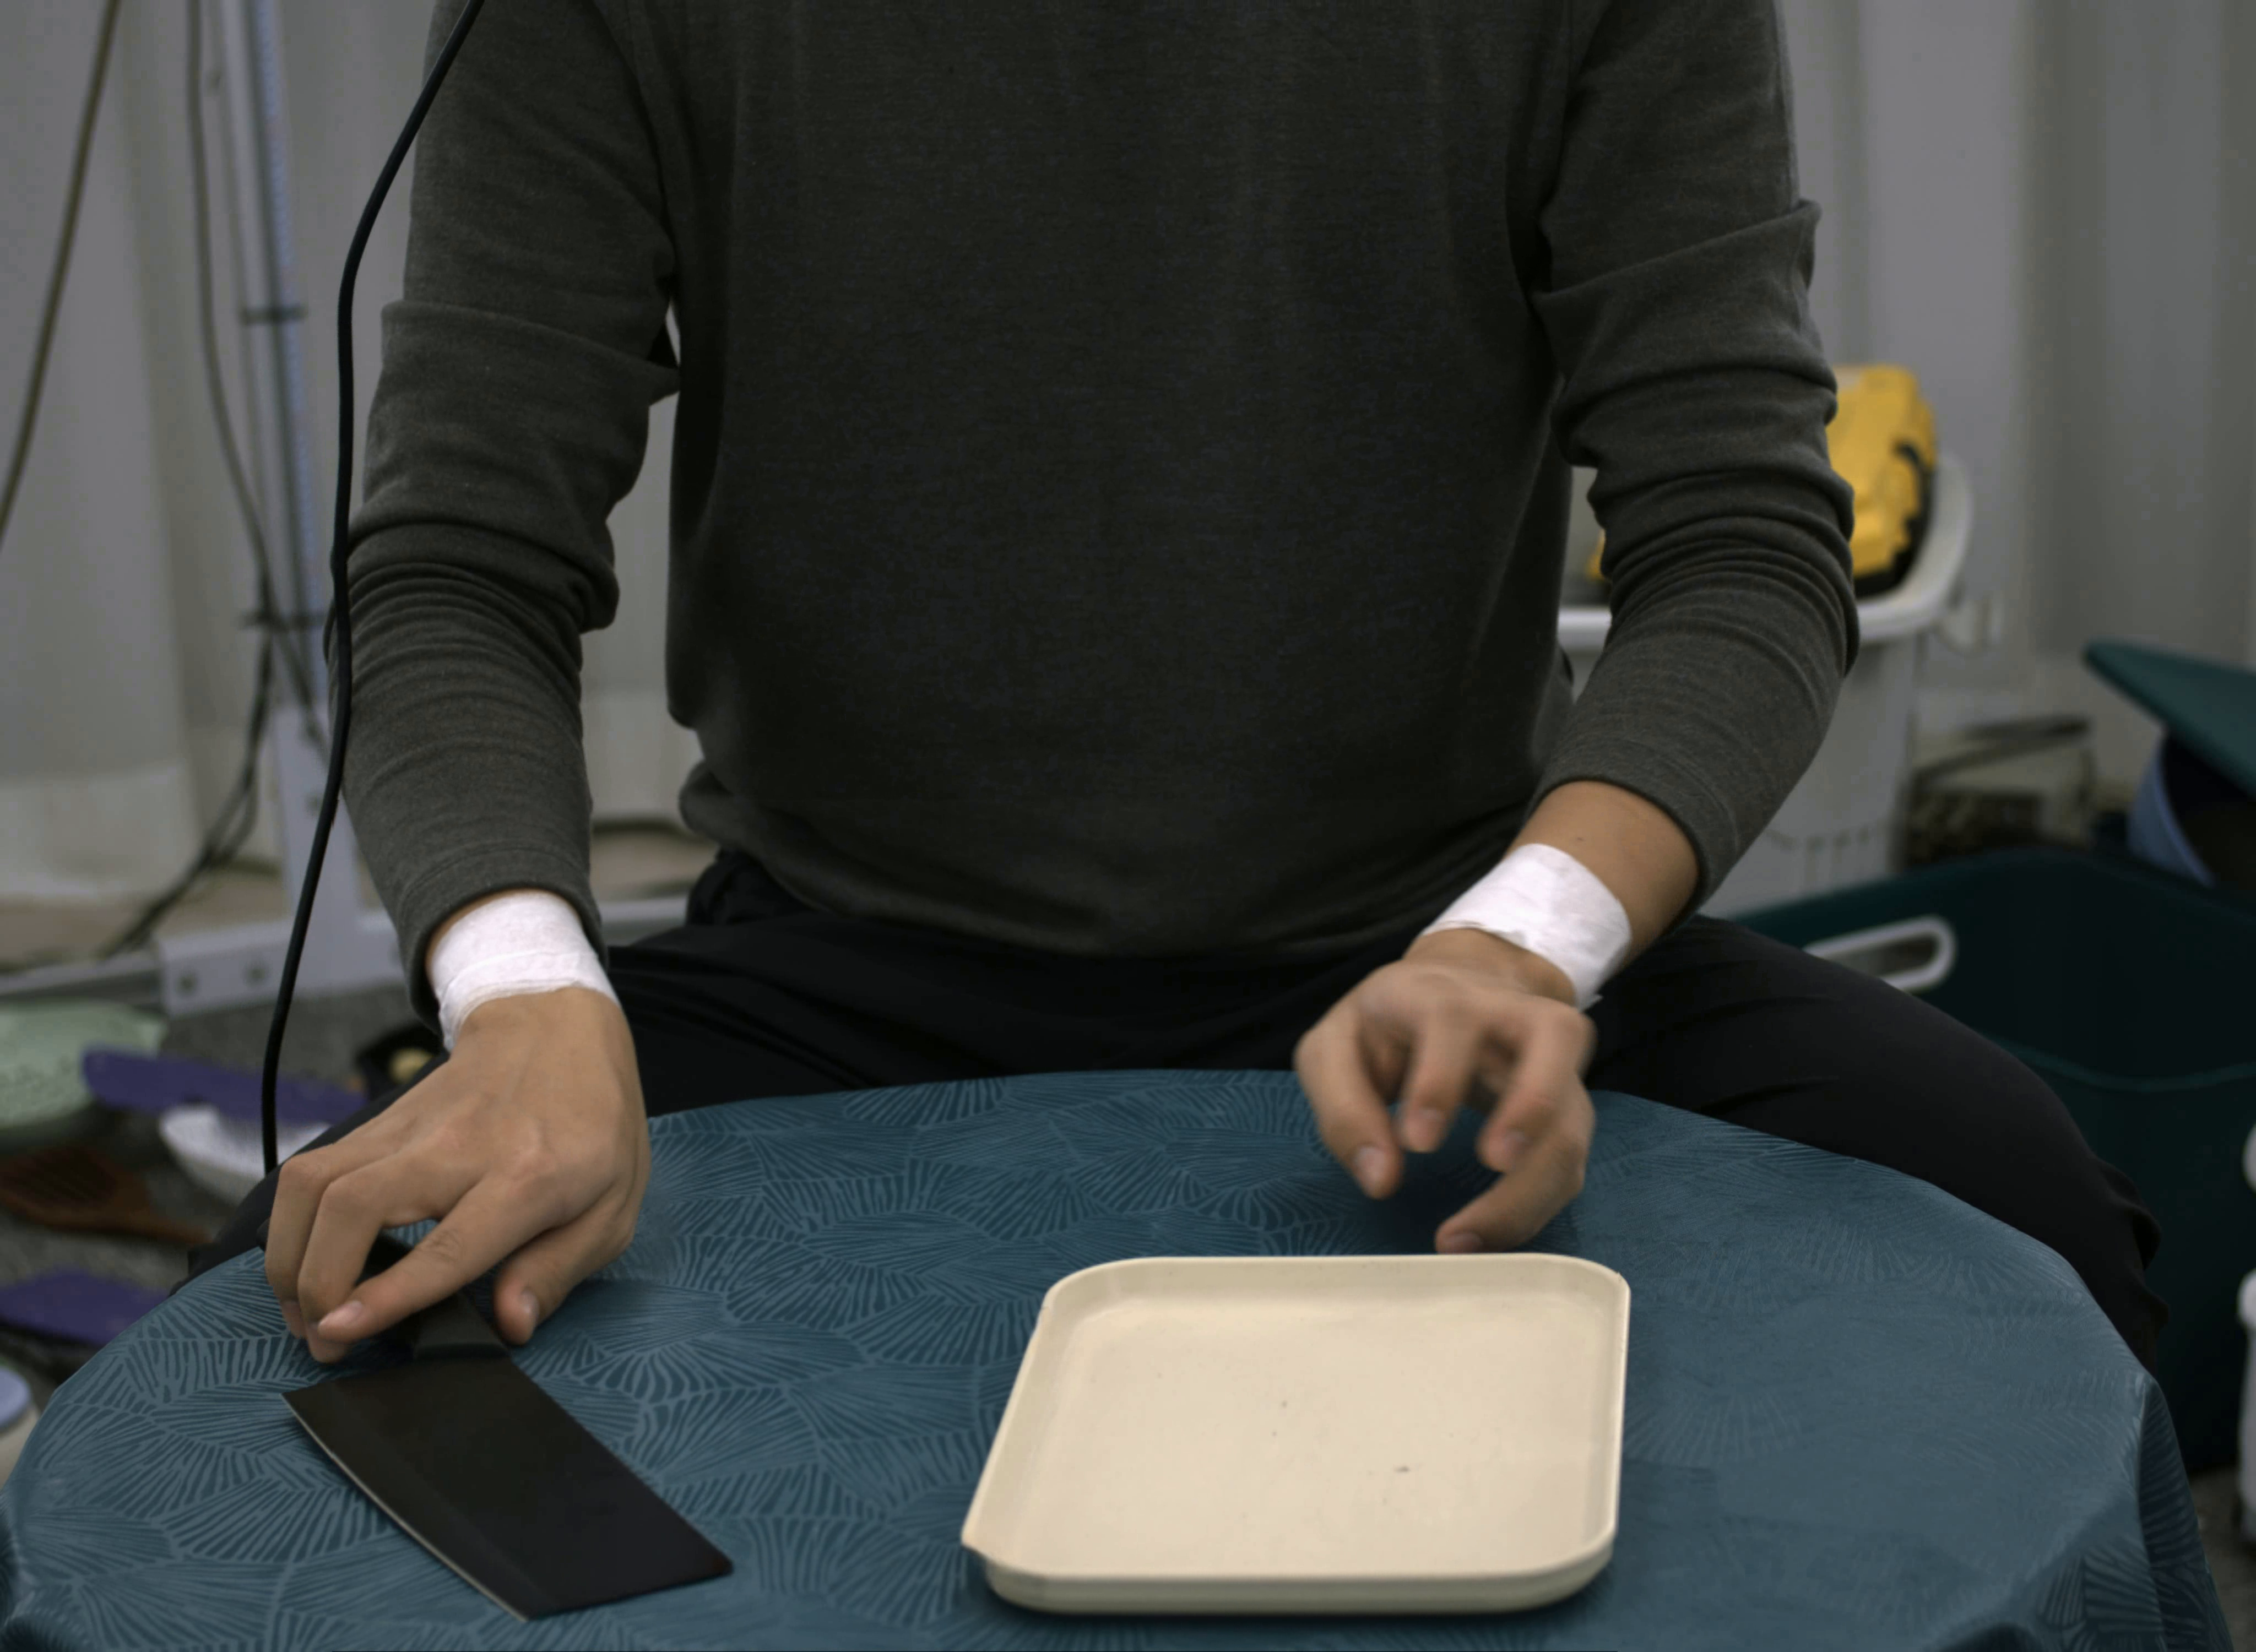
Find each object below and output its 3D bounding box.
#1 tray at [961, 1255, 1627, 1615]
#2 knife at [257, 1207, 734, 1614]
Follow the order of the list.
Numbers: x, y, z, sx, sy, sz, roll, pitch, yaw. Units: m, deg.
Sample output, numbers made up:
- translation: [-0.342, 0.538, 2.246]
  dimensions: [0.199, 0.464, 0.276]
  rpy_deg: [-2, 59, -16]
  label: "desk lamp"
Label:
- translation: [0.050, 0.164, 1.486]
  dimensions: [0.171, 0.017, 0.241]
  rpy_deg: [0, 15, 7]
  label: "tray"
- translation: [-0.195, 0.163, 1.546]
  dimensions: [0.080, 0.021, 0.305]
  rpy_deg: [-9, 18, -21]
  label: "knife"
